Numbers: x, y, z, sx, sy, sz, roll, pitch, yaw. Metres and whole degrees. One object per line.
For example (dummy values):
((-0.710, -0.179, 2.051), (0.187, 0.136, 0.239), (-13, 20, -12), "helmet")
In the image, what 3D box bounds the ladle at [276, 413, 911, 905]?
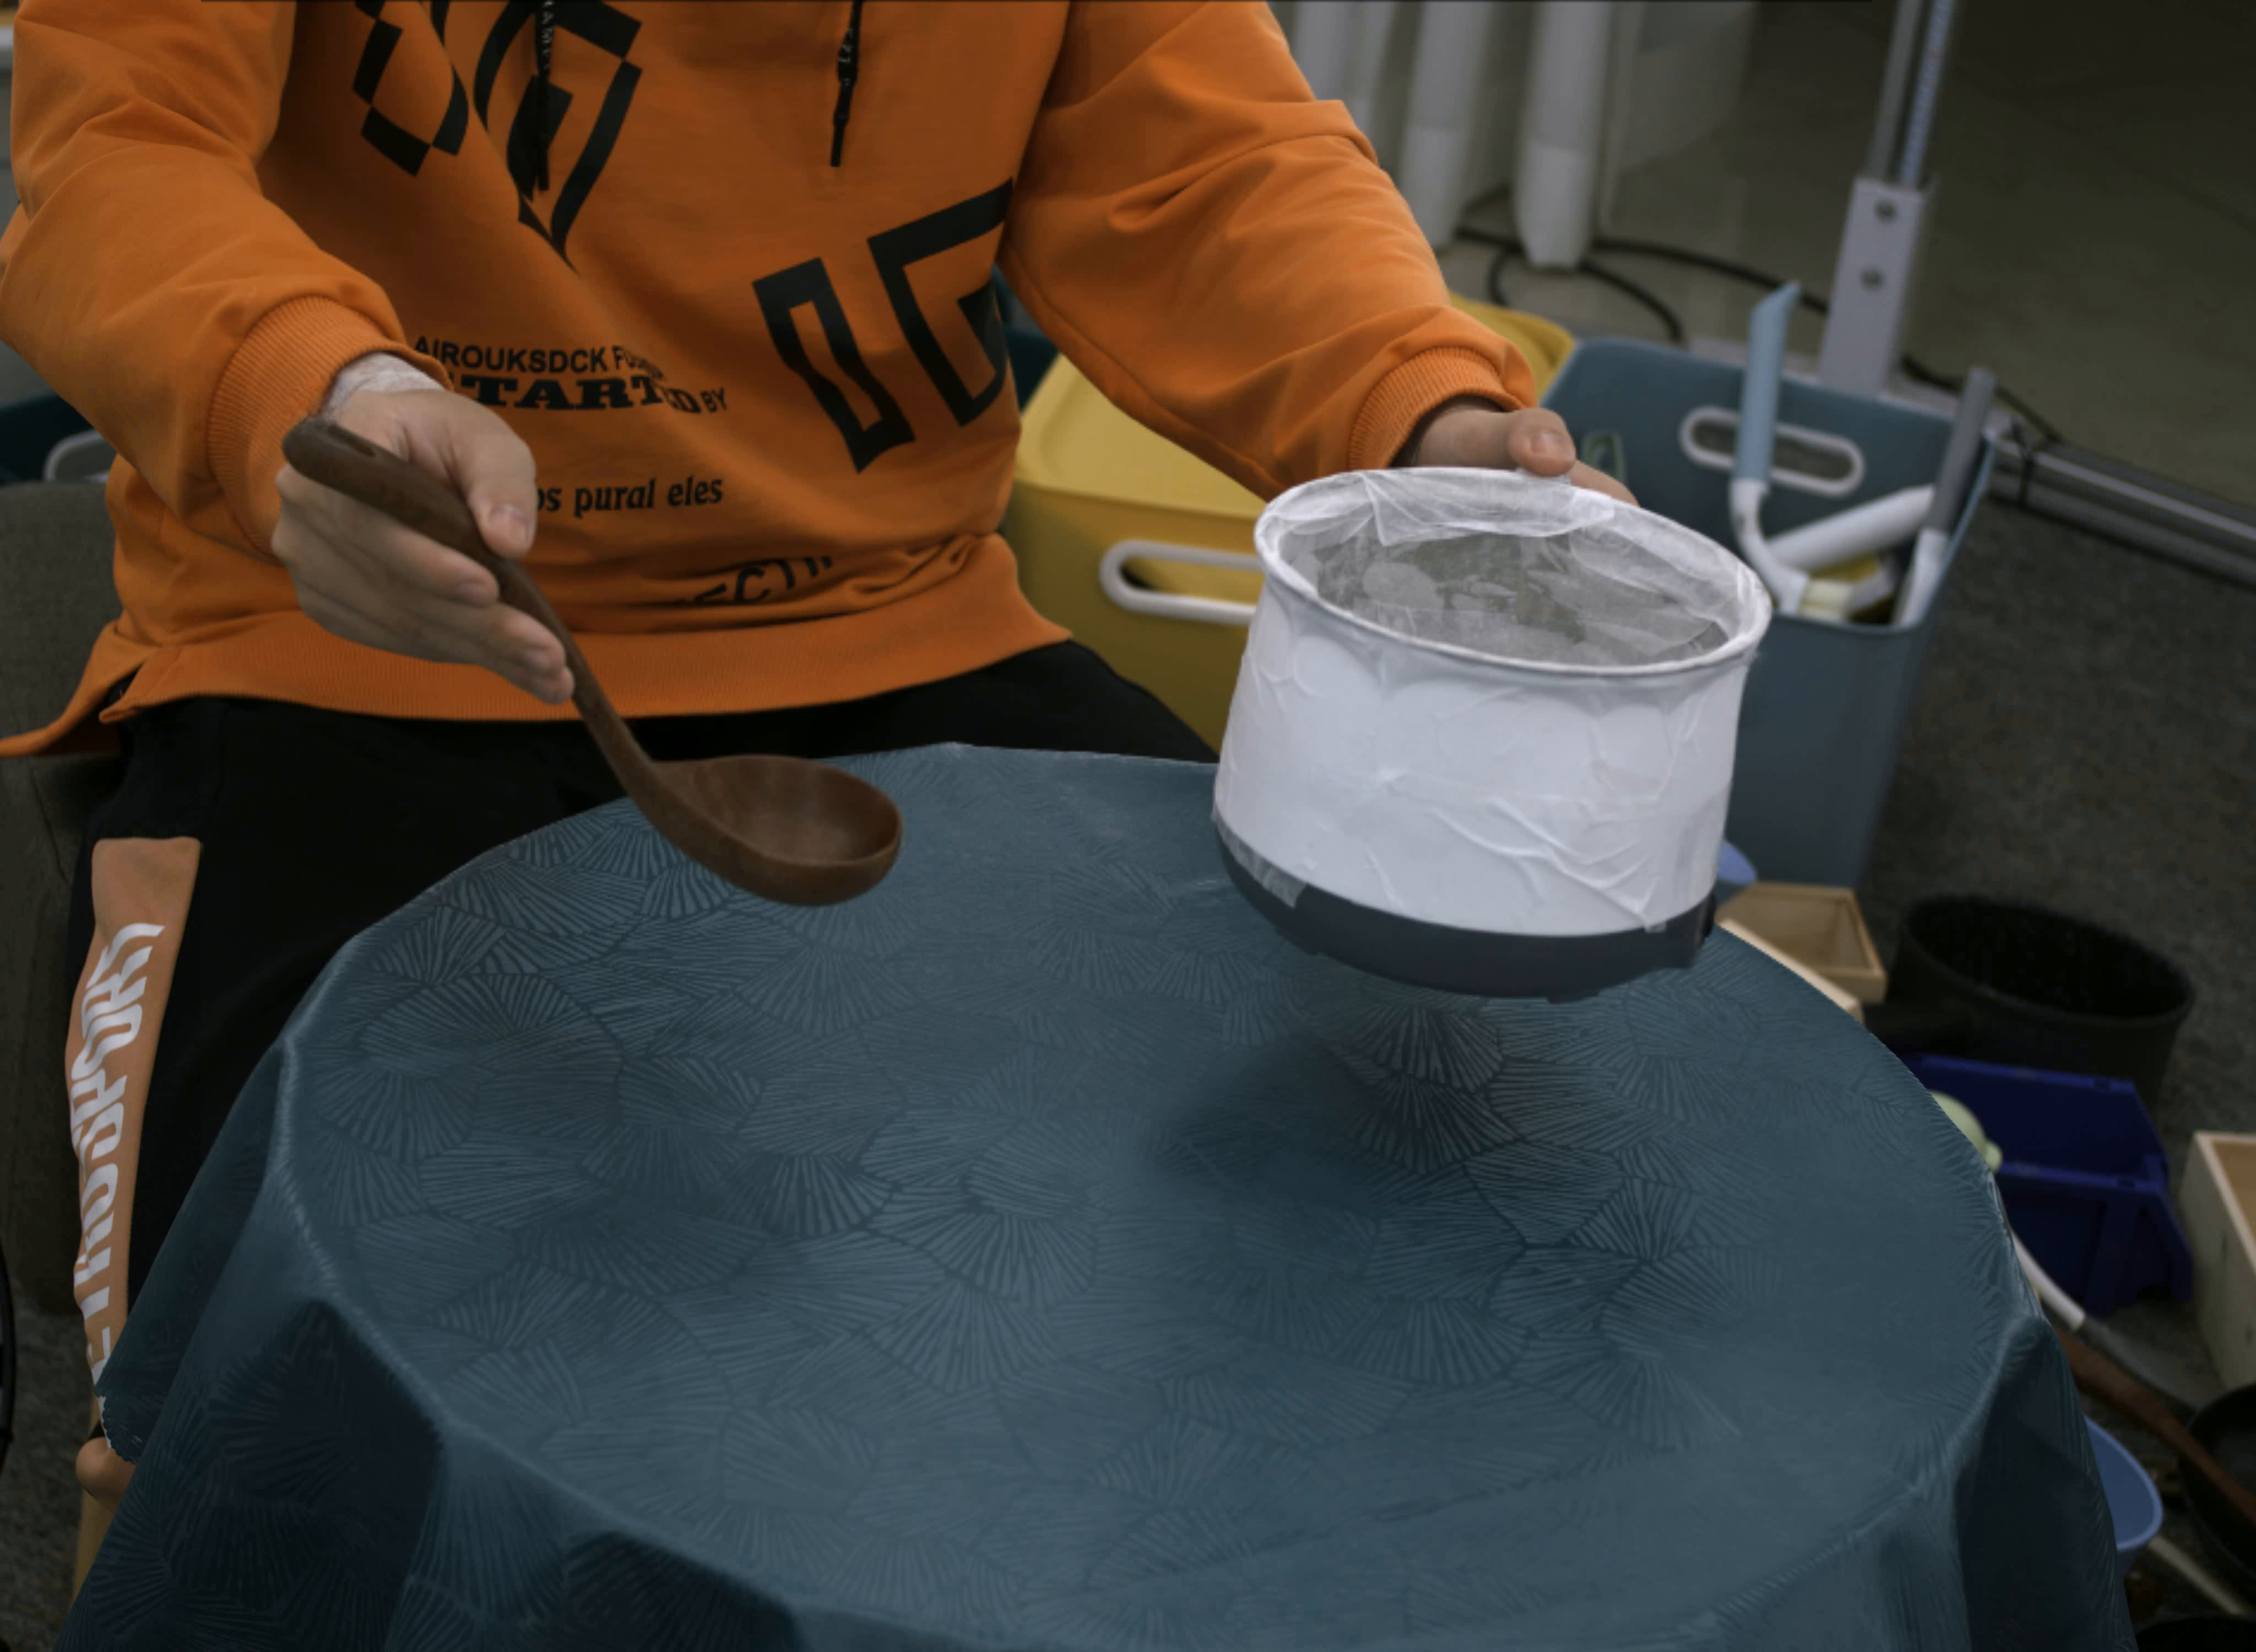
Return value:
((-0.168, -0.061, 1.713), (0.065, 0.258, 0.077), (-41, 32, 3), "ladle")

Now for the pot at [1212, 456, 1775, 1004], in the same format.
((0.125, -0.042, 1.840), (0.178, 0.136, 0.234), (11, 24, 4), "pot")
